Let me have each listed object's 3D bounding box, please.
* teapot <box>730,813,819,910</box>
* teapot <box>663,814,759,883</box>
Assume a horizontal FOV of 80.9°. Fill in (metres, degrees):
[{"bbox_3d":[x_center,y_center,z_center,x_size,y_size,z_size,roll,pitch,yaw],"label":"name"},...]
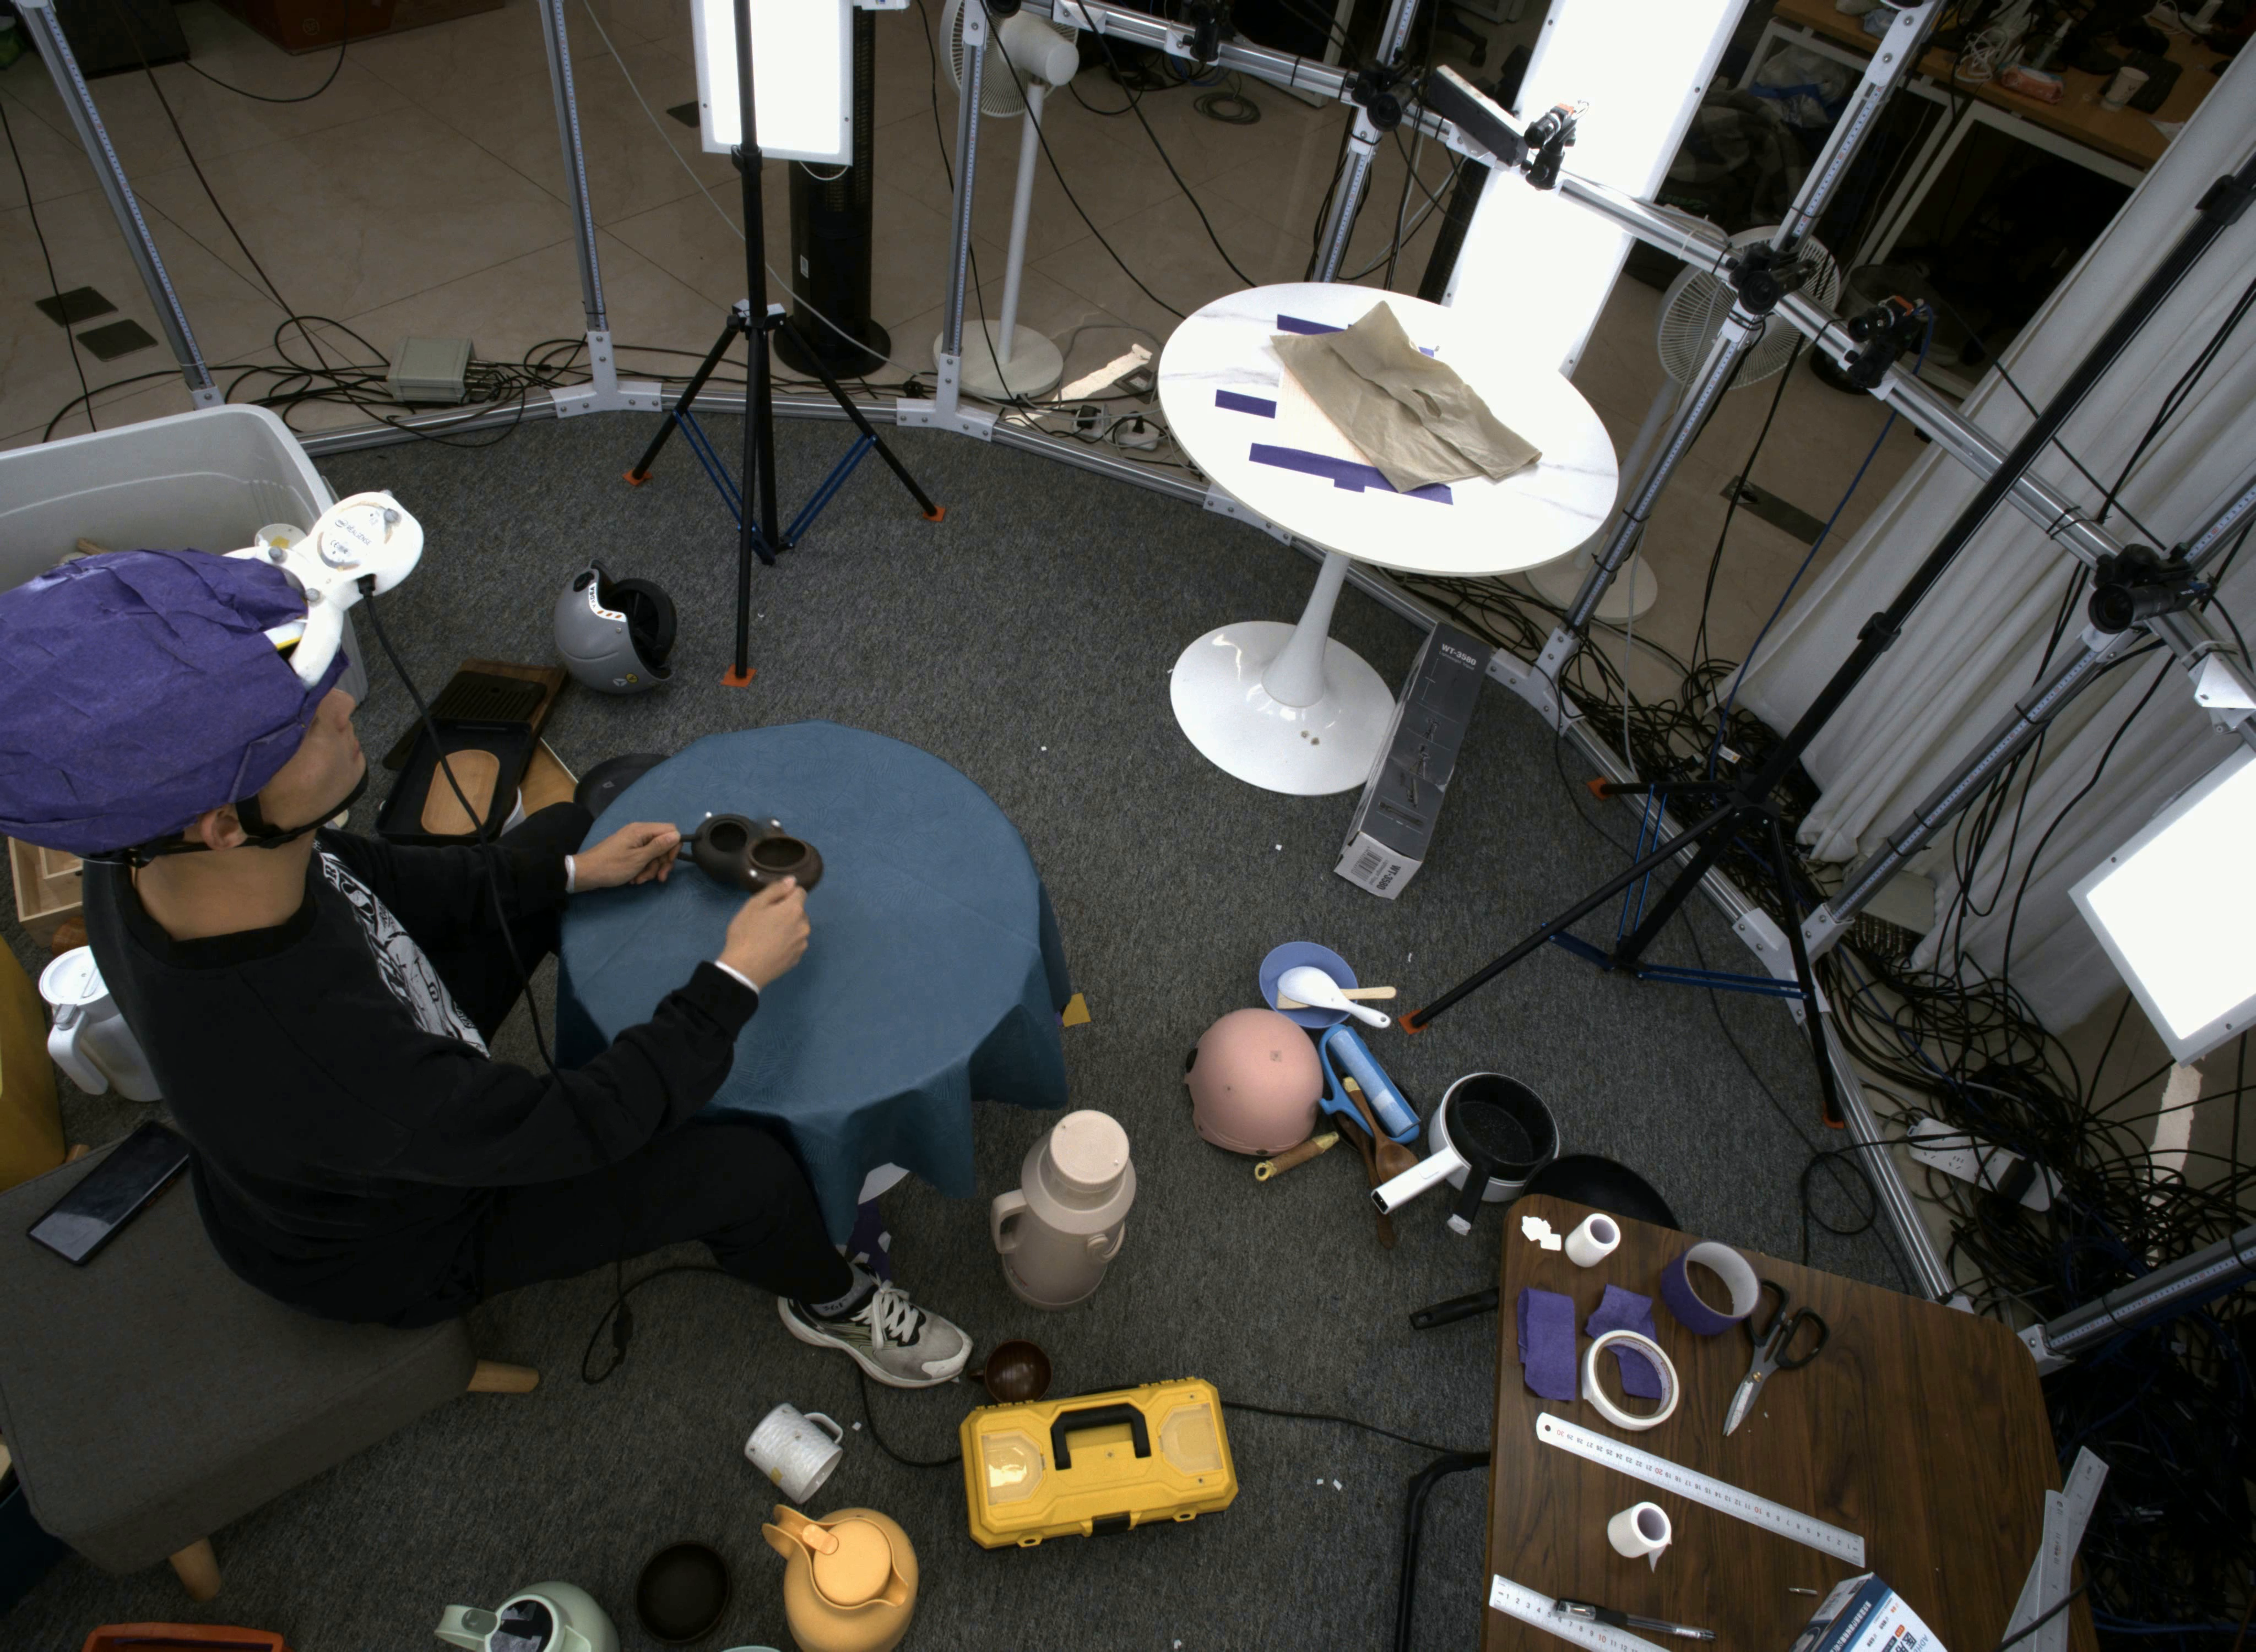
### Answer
[{"bbox_3d":[-0.414,0.043,1.522,0.103,0.055,0.148,-11,38,-24],"label":"teapot"},{"bbox_3d":[-0.509,0.028,1.635,0.155,0.066,0.090,1,49,-18],"label":"teapot"}]
